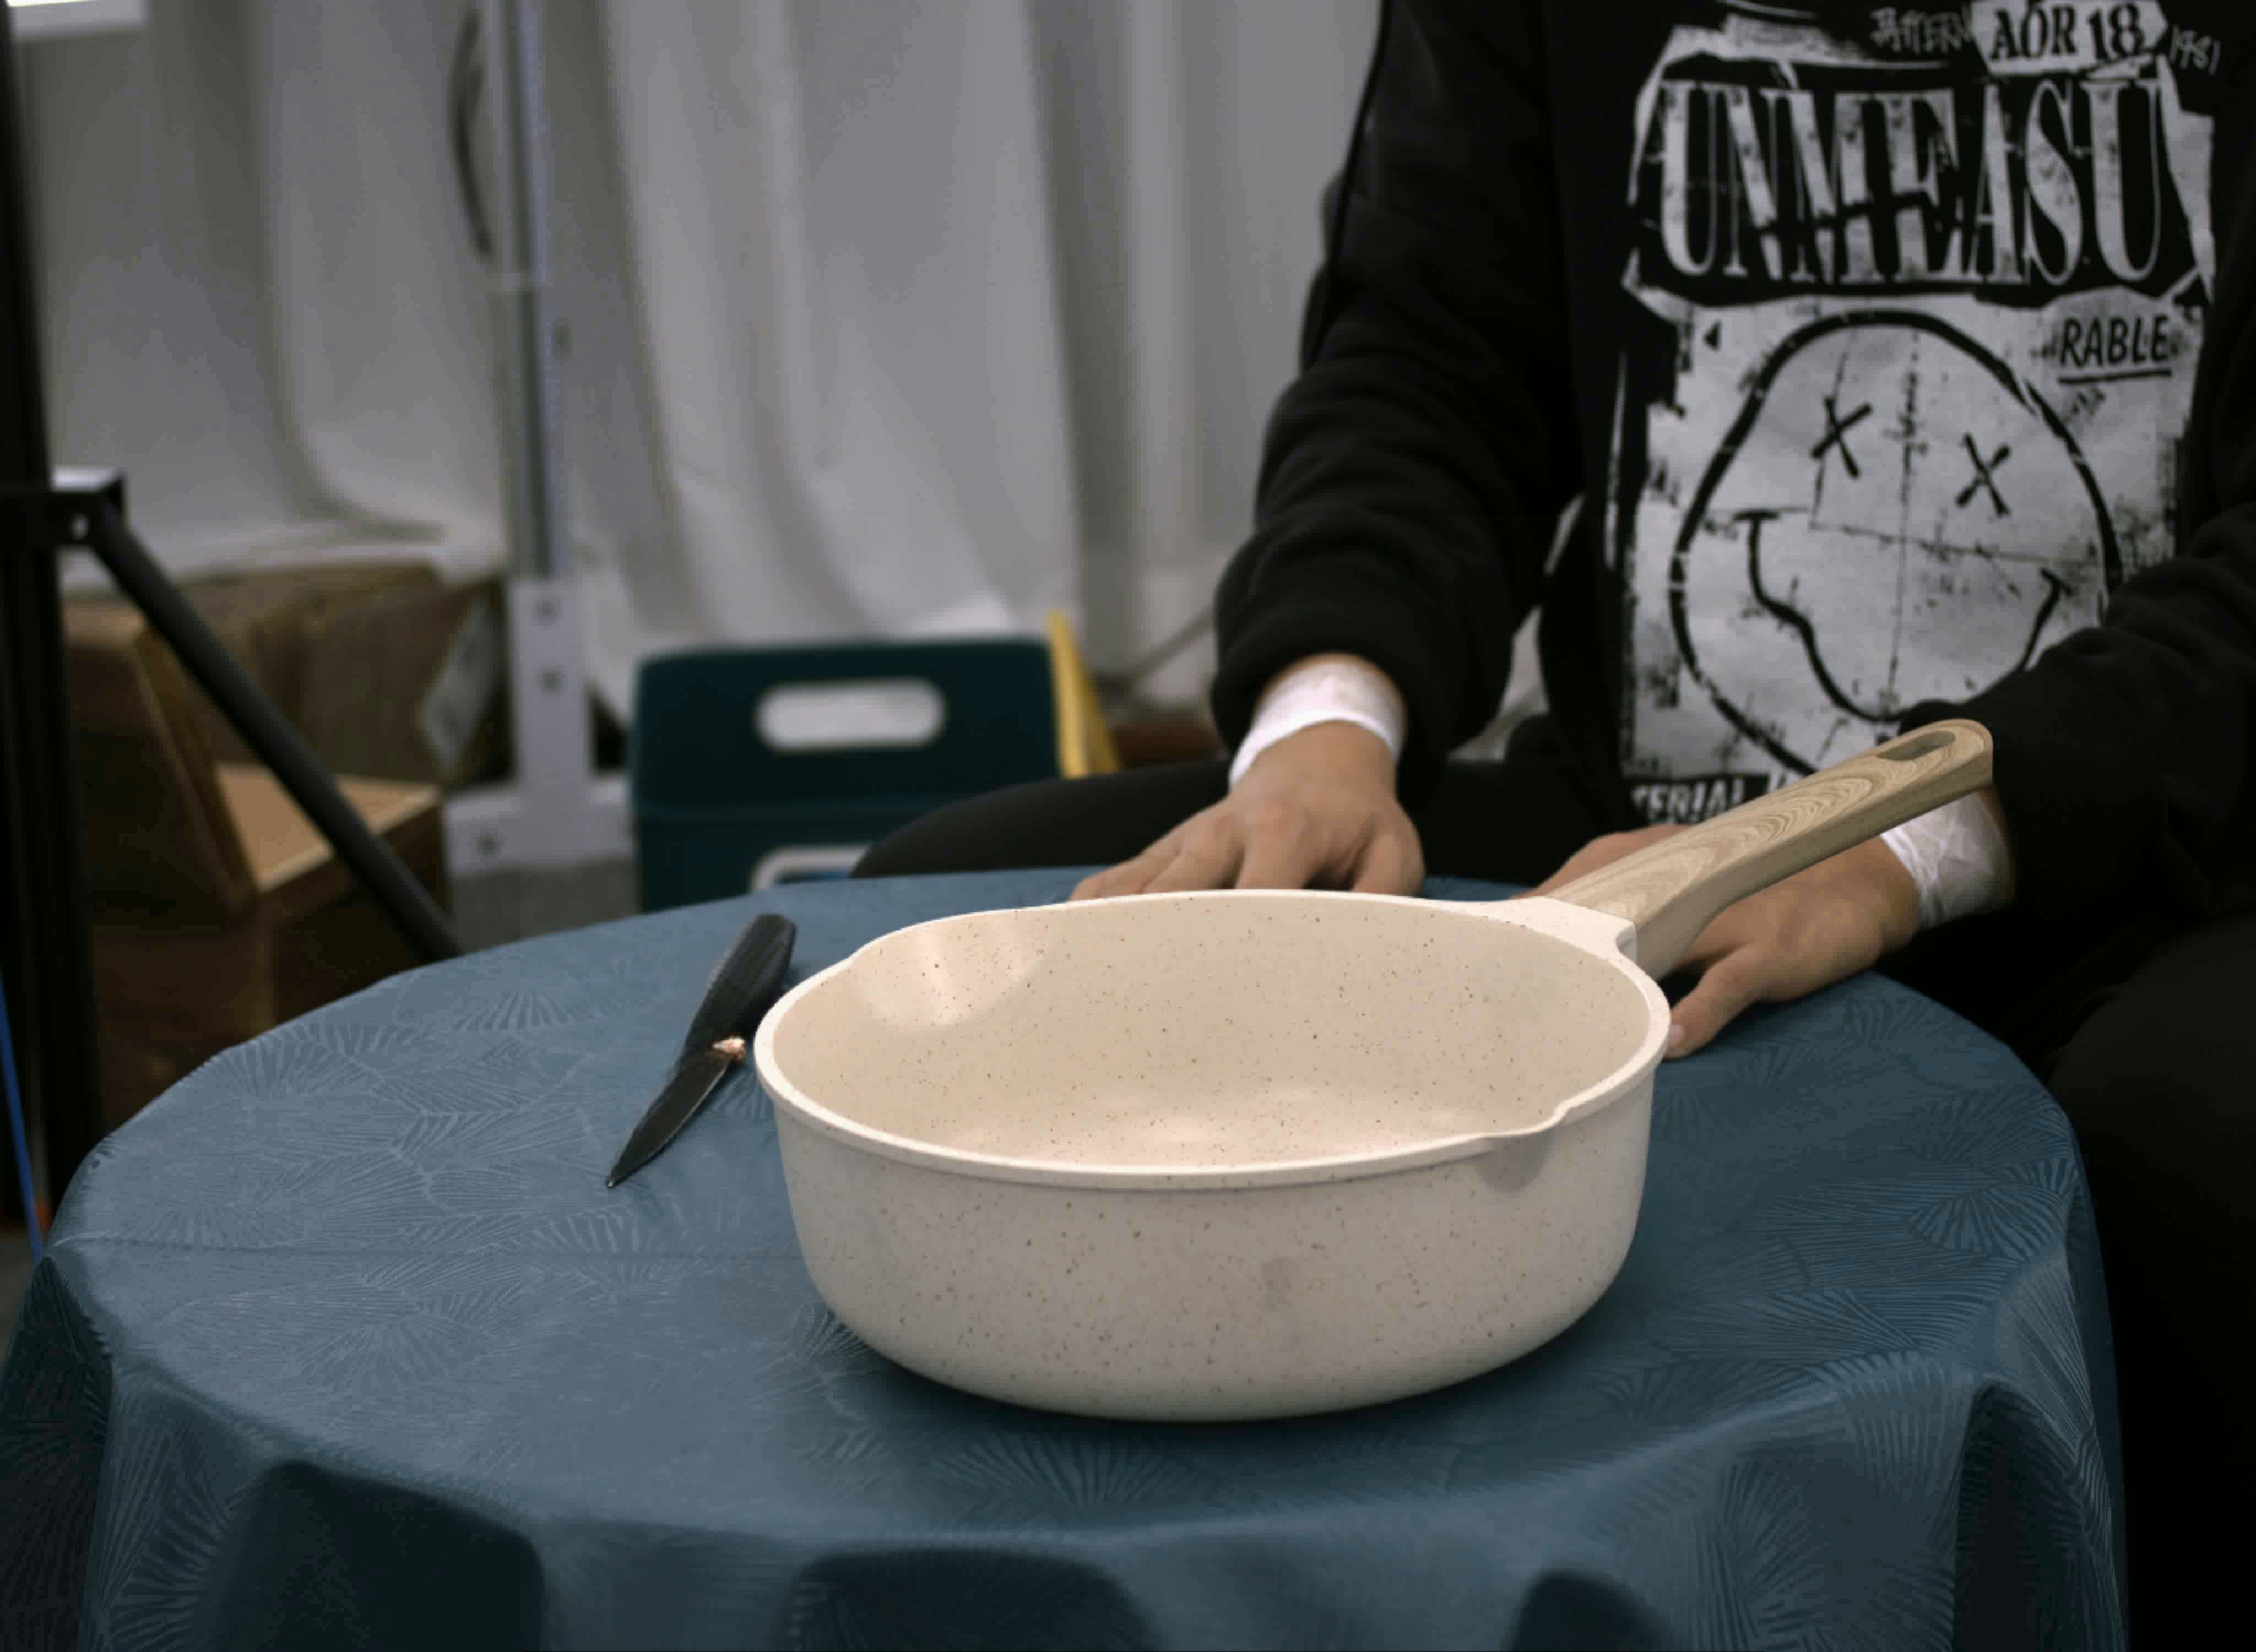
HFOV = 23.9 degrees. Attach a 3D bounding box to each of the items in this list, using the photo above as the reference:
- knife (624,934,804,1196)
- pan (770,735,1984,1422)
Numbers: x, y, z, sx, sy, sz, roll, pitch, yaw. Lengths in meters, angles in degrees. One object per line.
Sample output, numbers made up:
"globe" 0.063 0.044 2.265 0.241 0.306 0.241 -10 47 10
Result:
"knife" -0.133 0.074 1.682 0.026 0.017 0.225 15 19 4
"pan" 0.098 0.066 1.505 0.425 0.102 0.269 -15 18 -37
